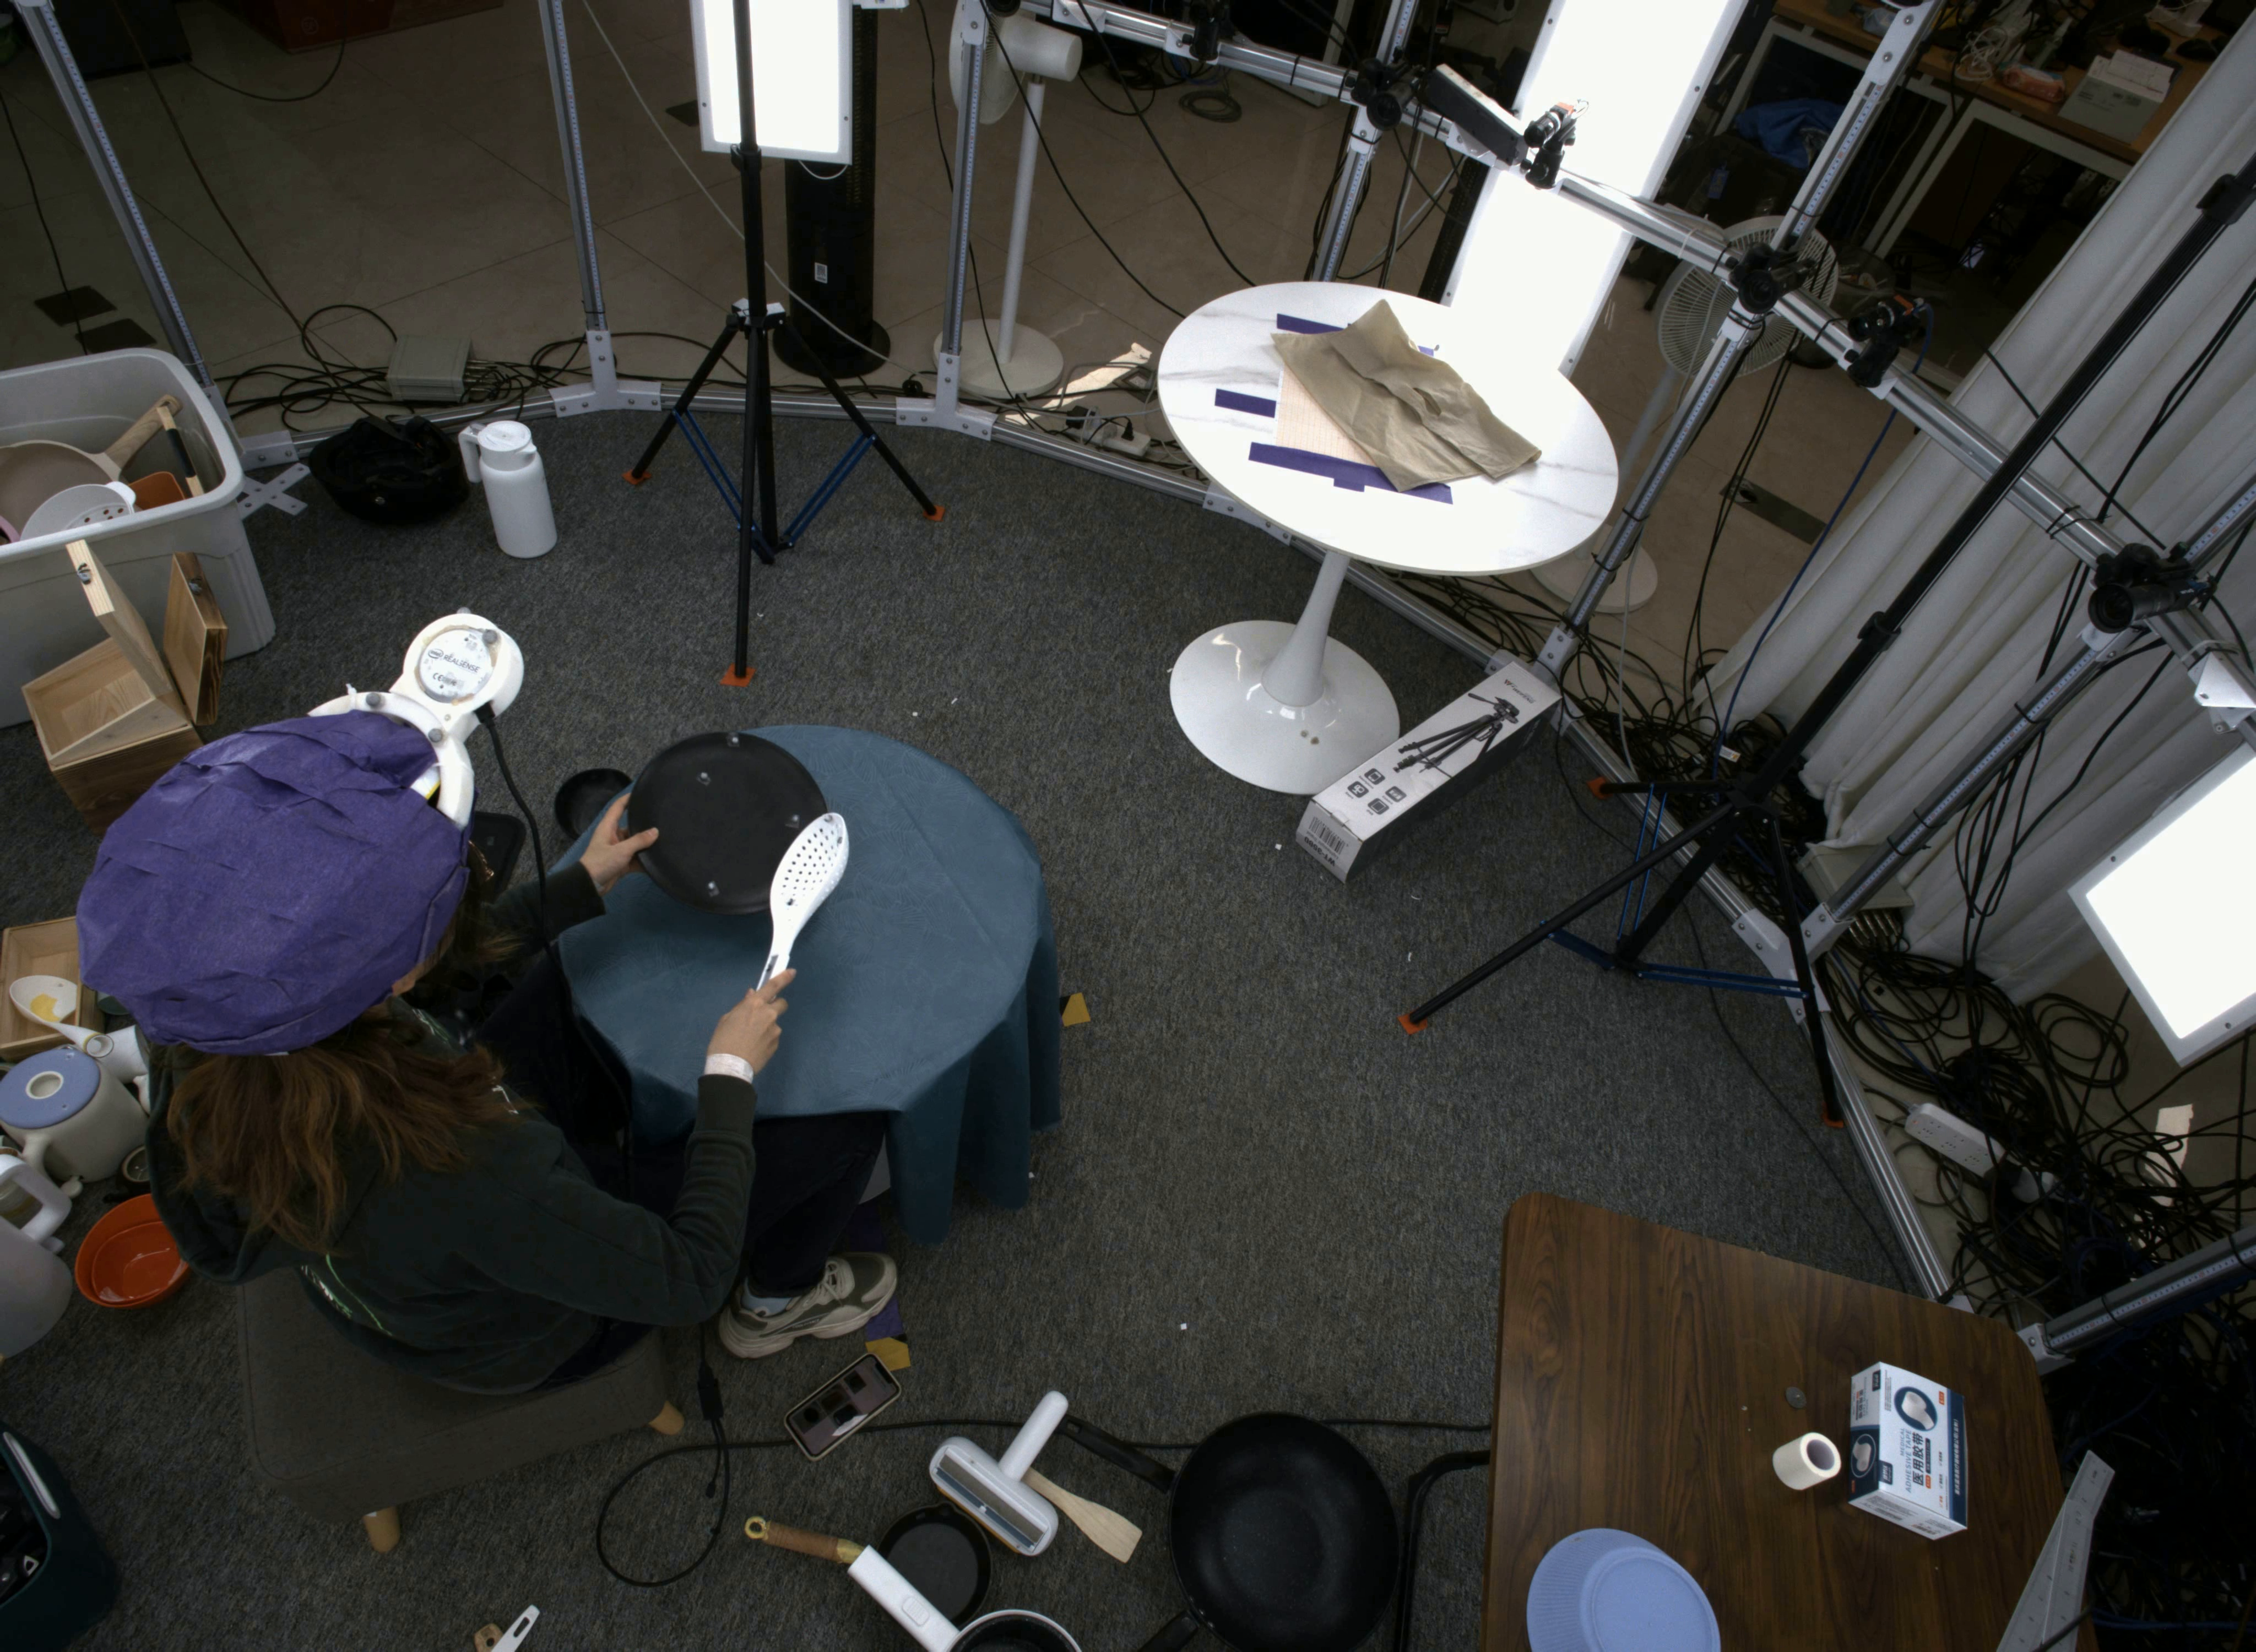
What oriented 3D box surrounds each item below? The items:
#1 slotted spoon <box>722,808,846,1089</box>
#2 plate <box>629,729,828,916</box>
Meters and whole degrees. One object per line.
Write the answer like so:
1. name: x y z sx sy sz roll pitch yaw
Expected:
1. slotted spoon: -0.395 0.132 1.479 0.047 0.133 0.346 39 51 -31
2. plate: -0.491 -0.005 1.593 0.248 0.023 0.242 11 66 -24
